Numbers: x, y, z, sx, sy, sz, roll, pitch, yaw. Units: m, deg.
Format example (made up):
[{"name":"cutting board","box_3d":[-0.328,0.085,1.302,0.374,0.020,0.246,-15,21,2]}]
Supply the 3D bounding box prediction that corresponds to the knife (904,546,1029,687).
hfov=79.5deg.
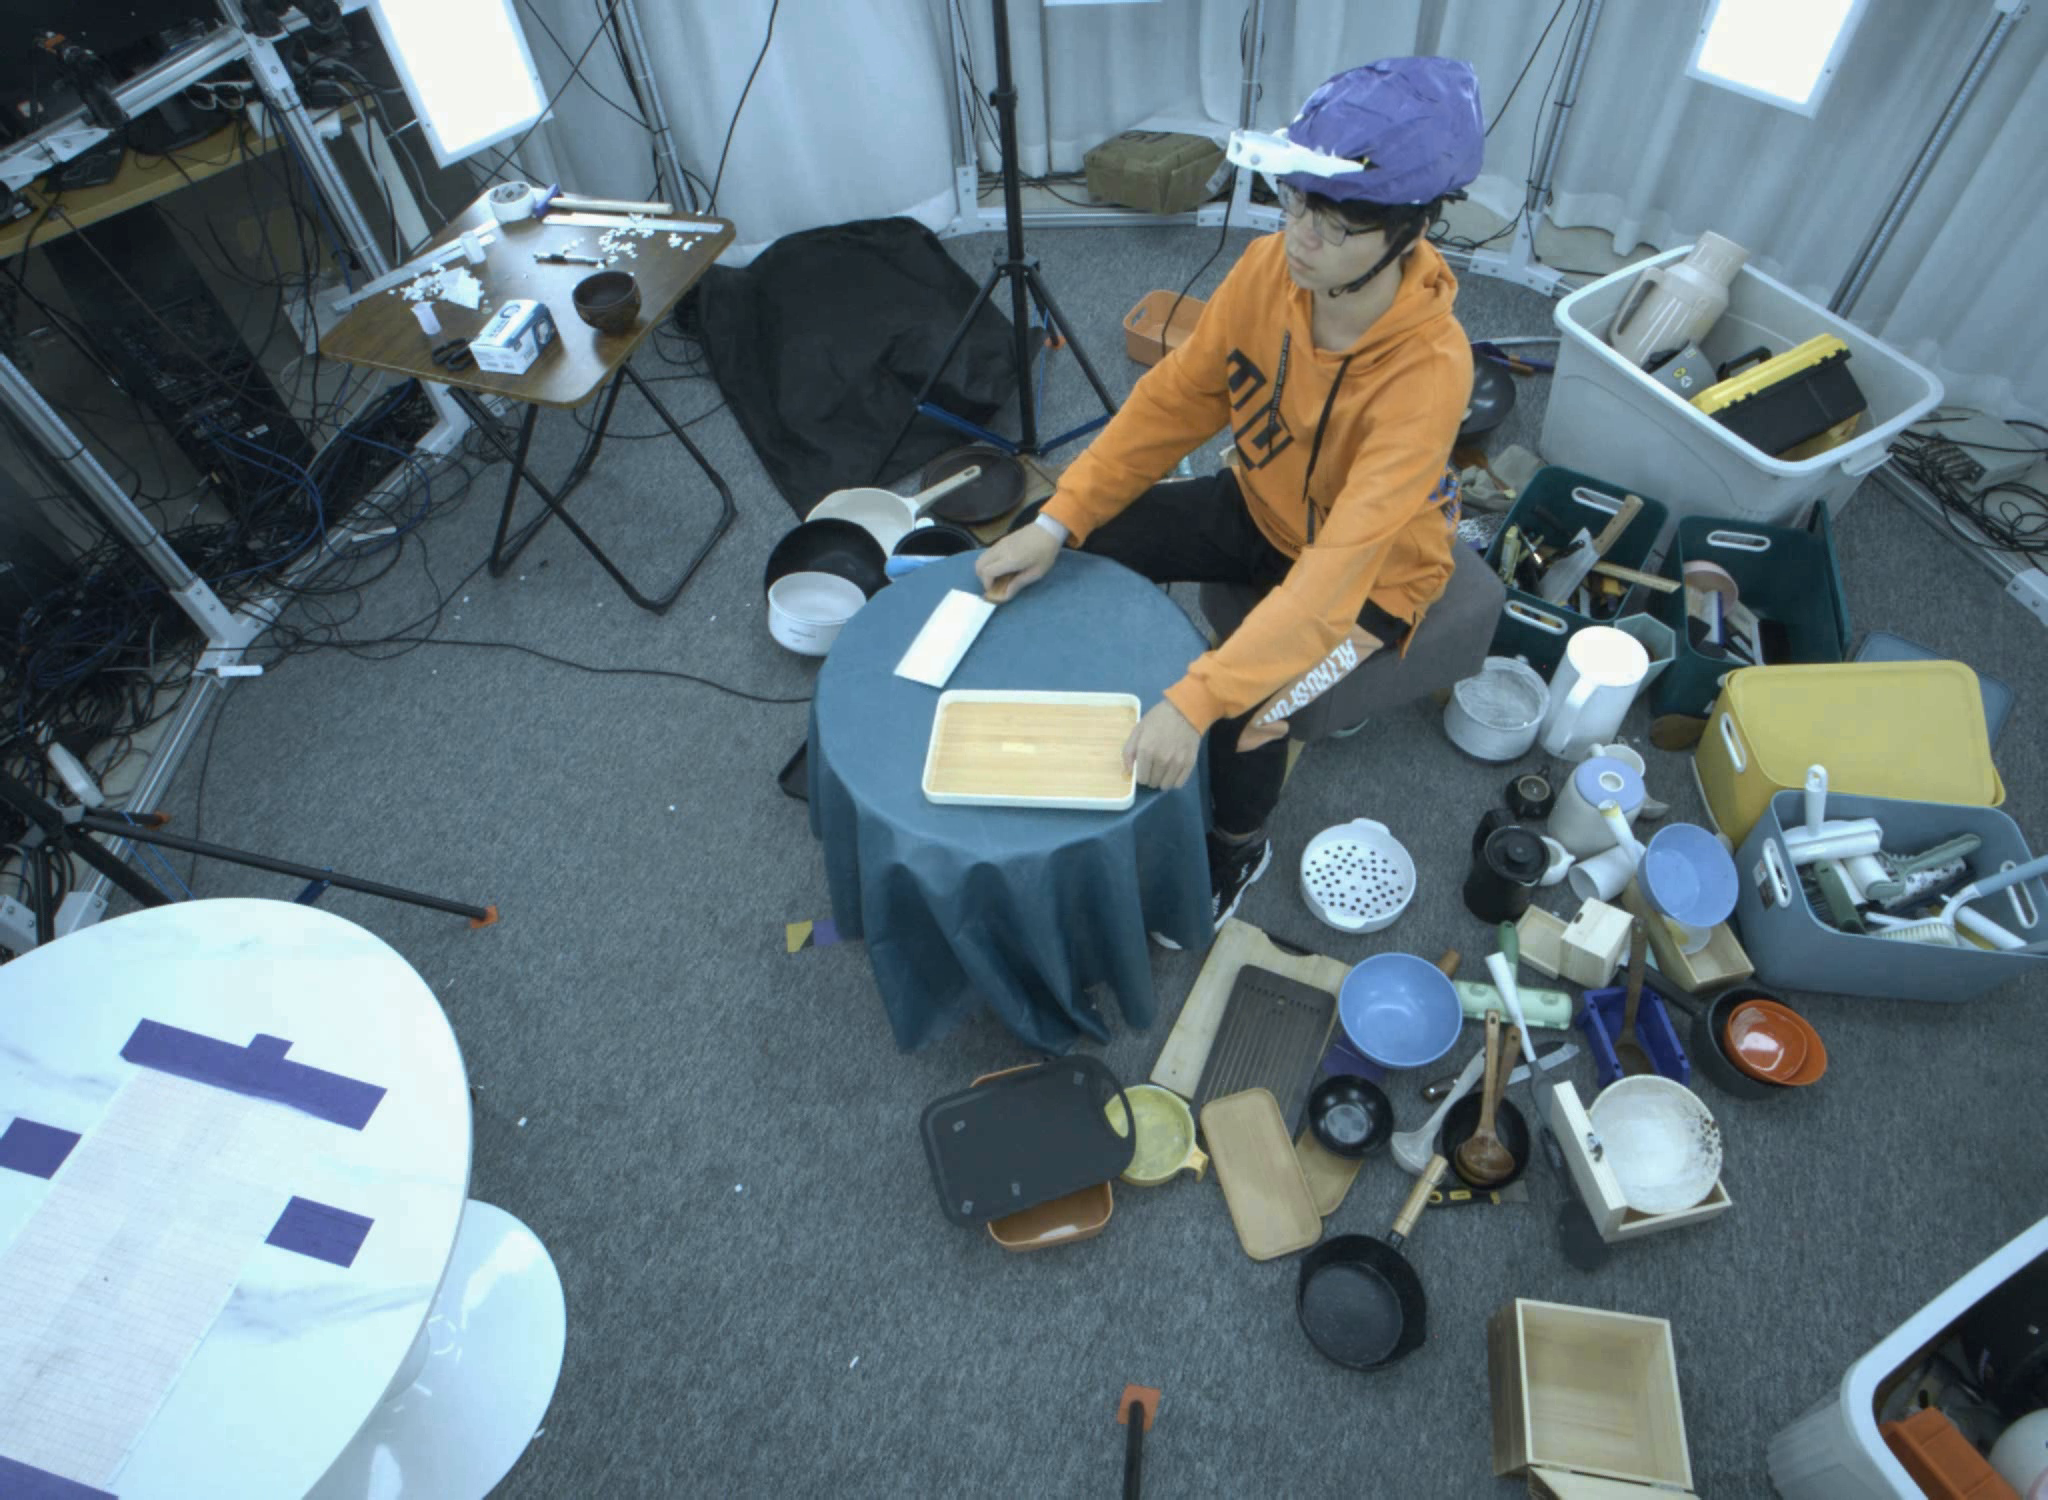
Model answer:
[{"name":"knife","box_3d":[-0.094,-0.219,1.935,0.091,0.021,0.306,19,59,21]}]

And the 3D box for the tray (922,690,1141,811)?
[{"name":"tray","box_3d":[0.013,-0.002,1.765,0.299,0.028,0.190,2,55,7]}]
